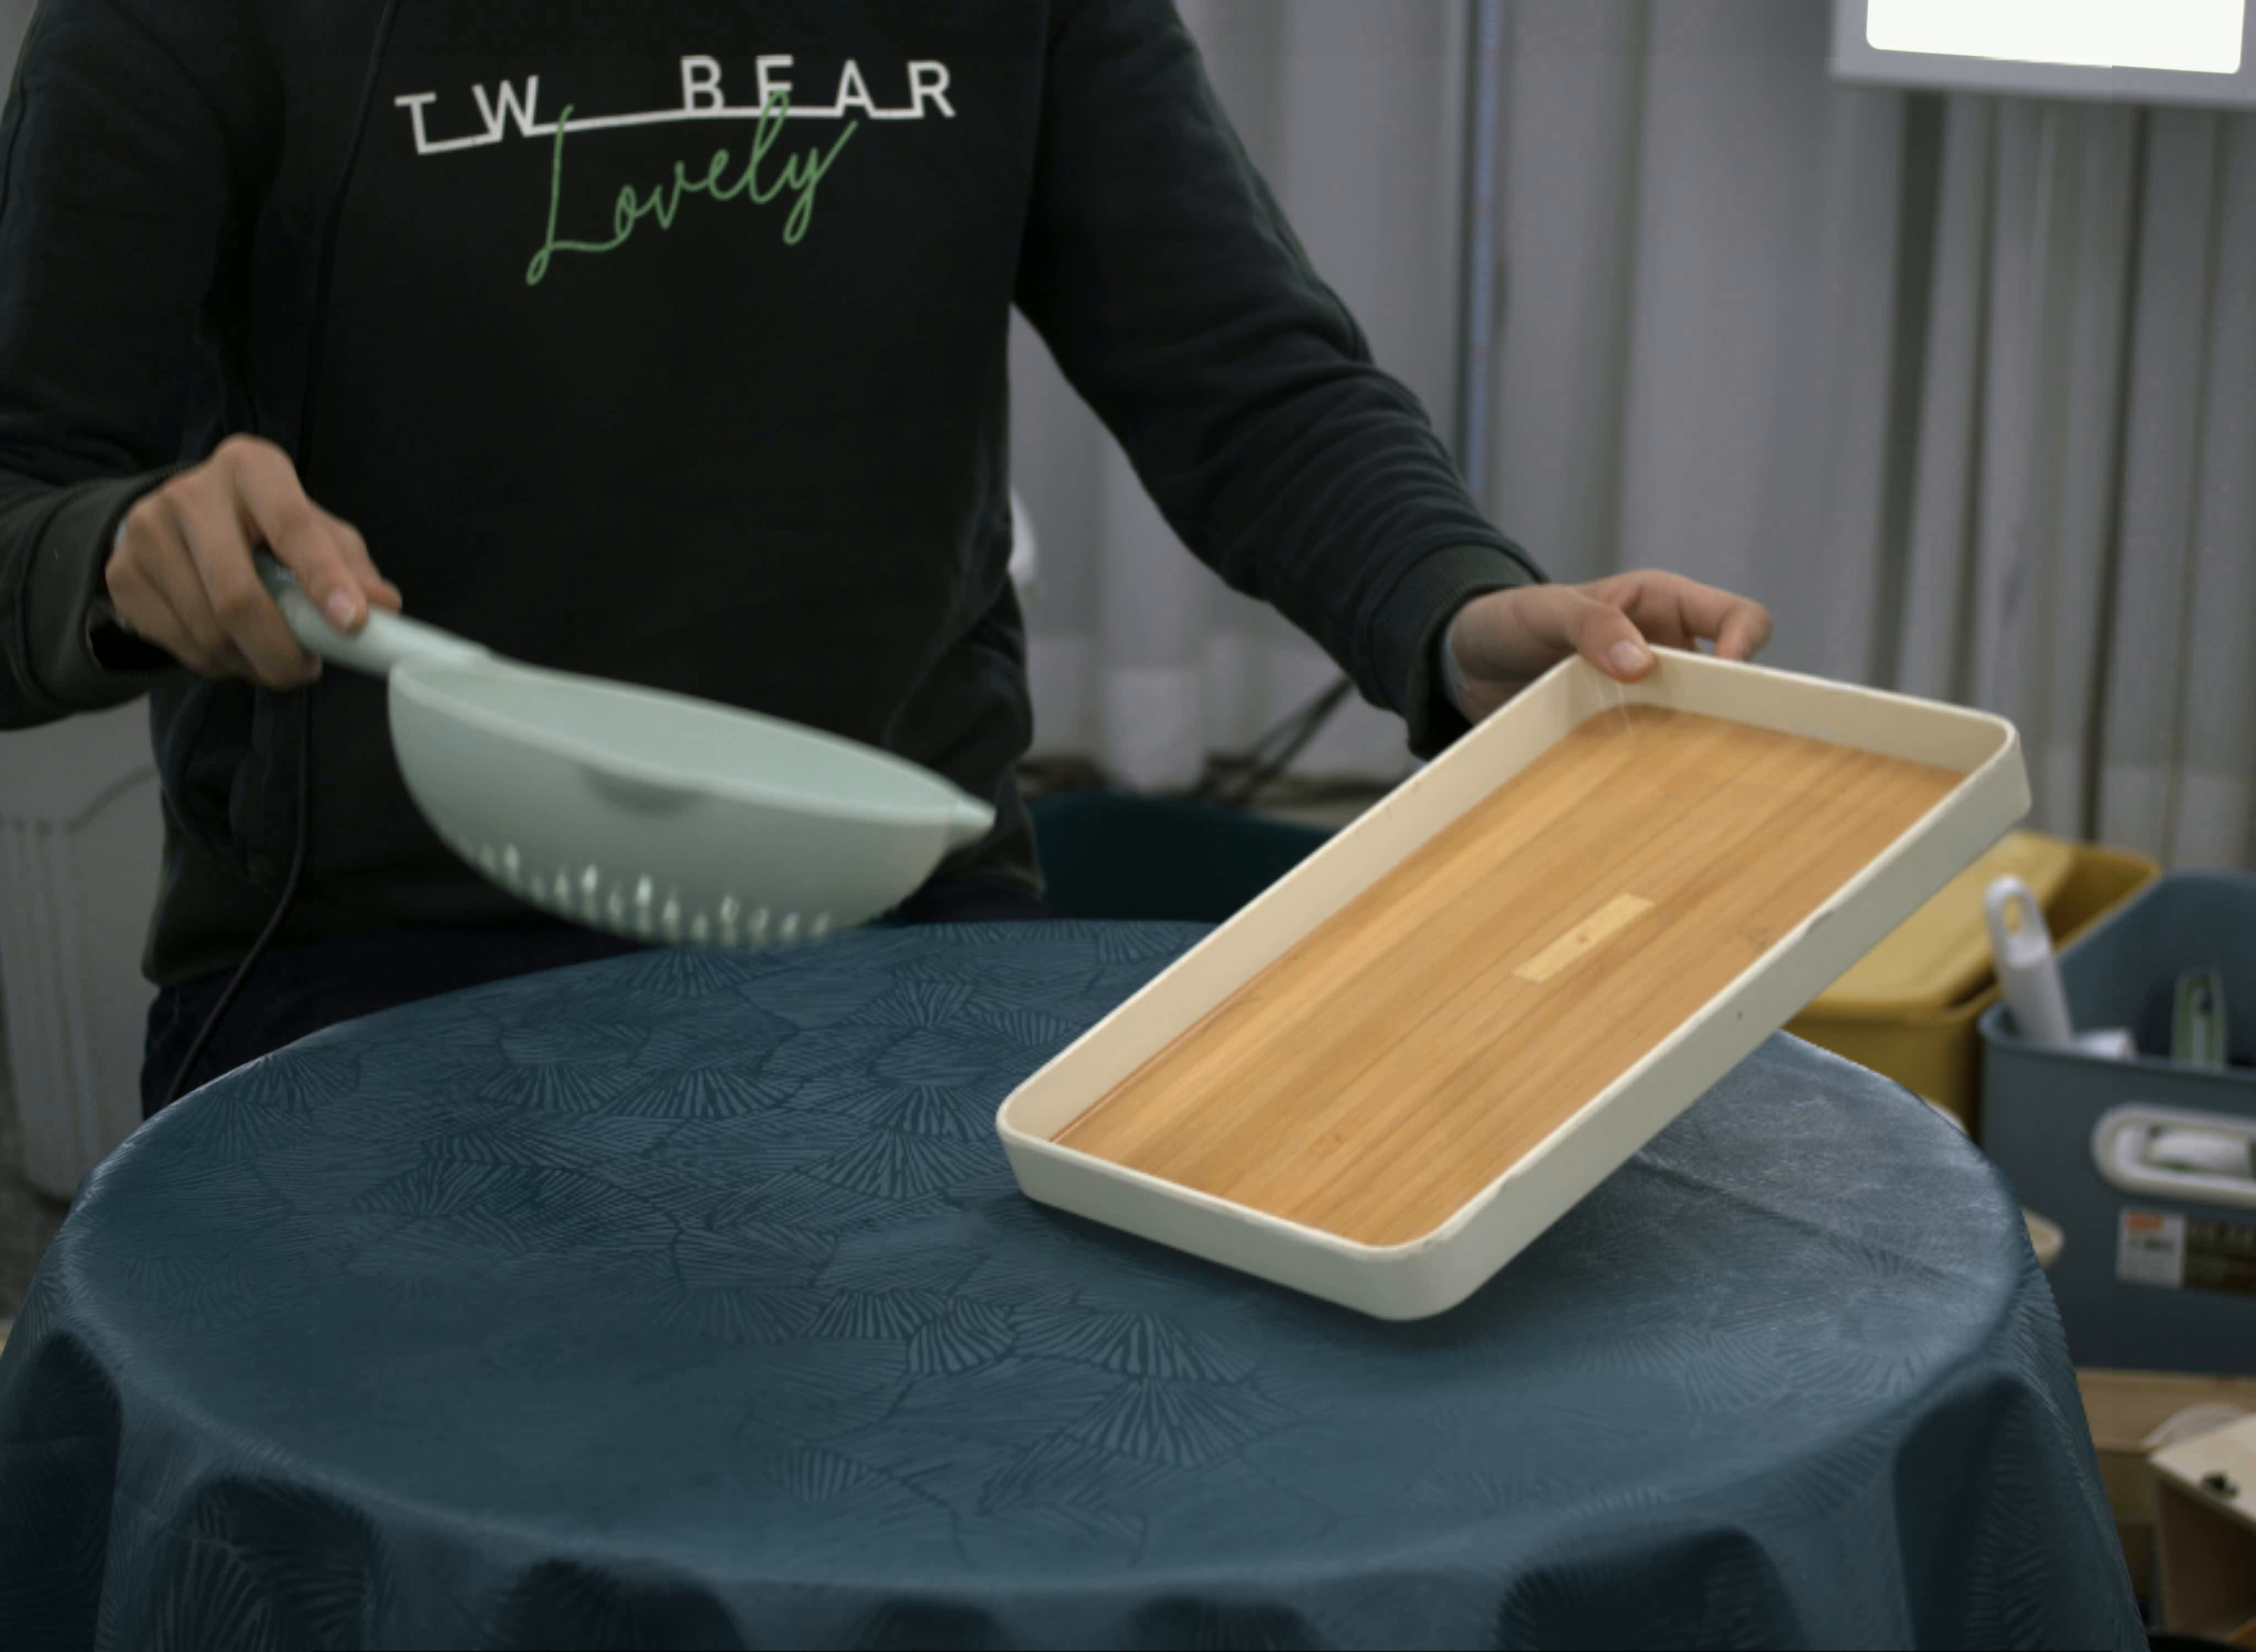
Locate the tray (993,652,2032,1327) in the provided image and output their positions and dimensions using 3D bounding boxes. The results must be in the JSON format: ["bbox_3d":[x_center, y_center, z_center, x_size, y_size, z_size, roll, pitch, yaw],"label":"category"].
[{"bbox_3d":[0.120,0.043,1.623,0.300,0.028,0.189,-36,33,-31],"label":"tray"}]

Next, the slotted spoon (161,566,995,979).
[{"bbox_3d":[-0.192,-0.031,1.565,0.171,0.076,0.353,8,18,-43],"label":"slotted spoon"}]
